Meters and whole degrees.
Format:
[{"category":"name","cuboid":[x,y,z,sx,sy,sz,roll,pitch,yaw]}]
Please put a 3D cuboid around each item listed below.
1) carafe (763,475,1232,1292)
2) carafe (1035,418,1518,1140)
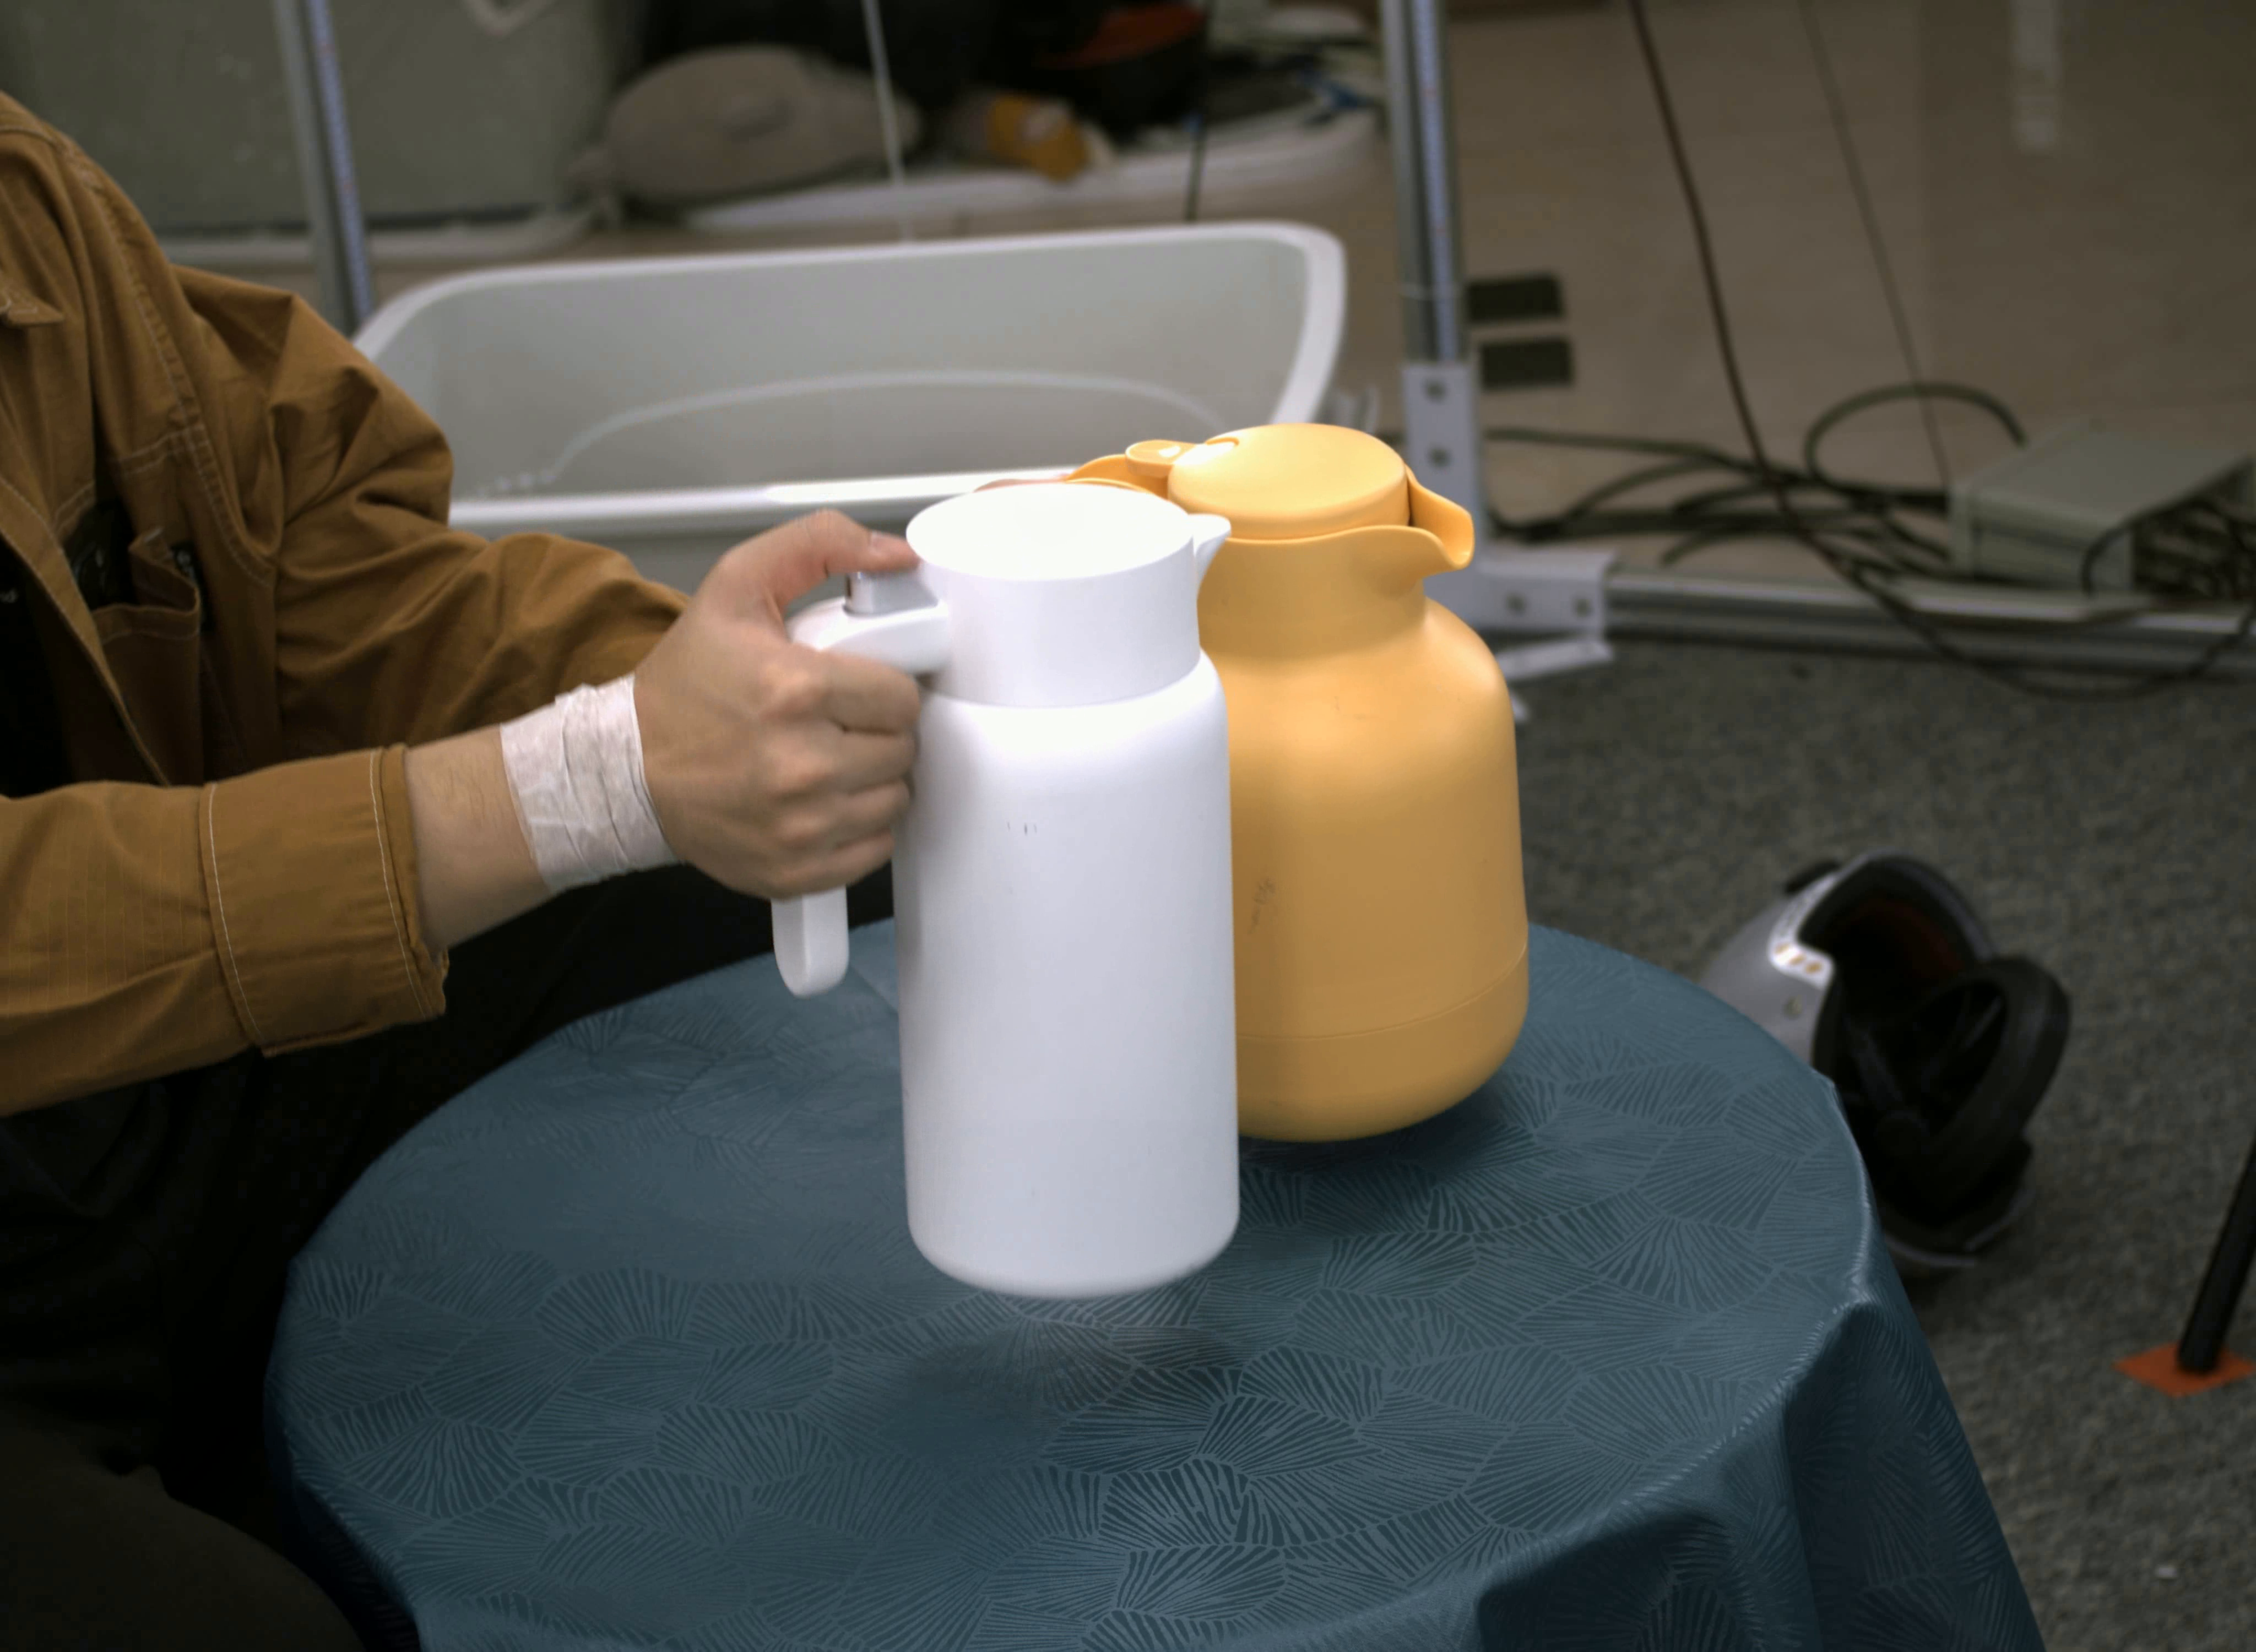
[{"category":"carafe","cuboid":[-0.039,0.023,1.944,0.172,0.273,0.122,-13,27,-26]},{"category":"carafe","cuboid":[0.049,-0.027,2.141,0.201,0.264,0.162,15,30,30]}]
